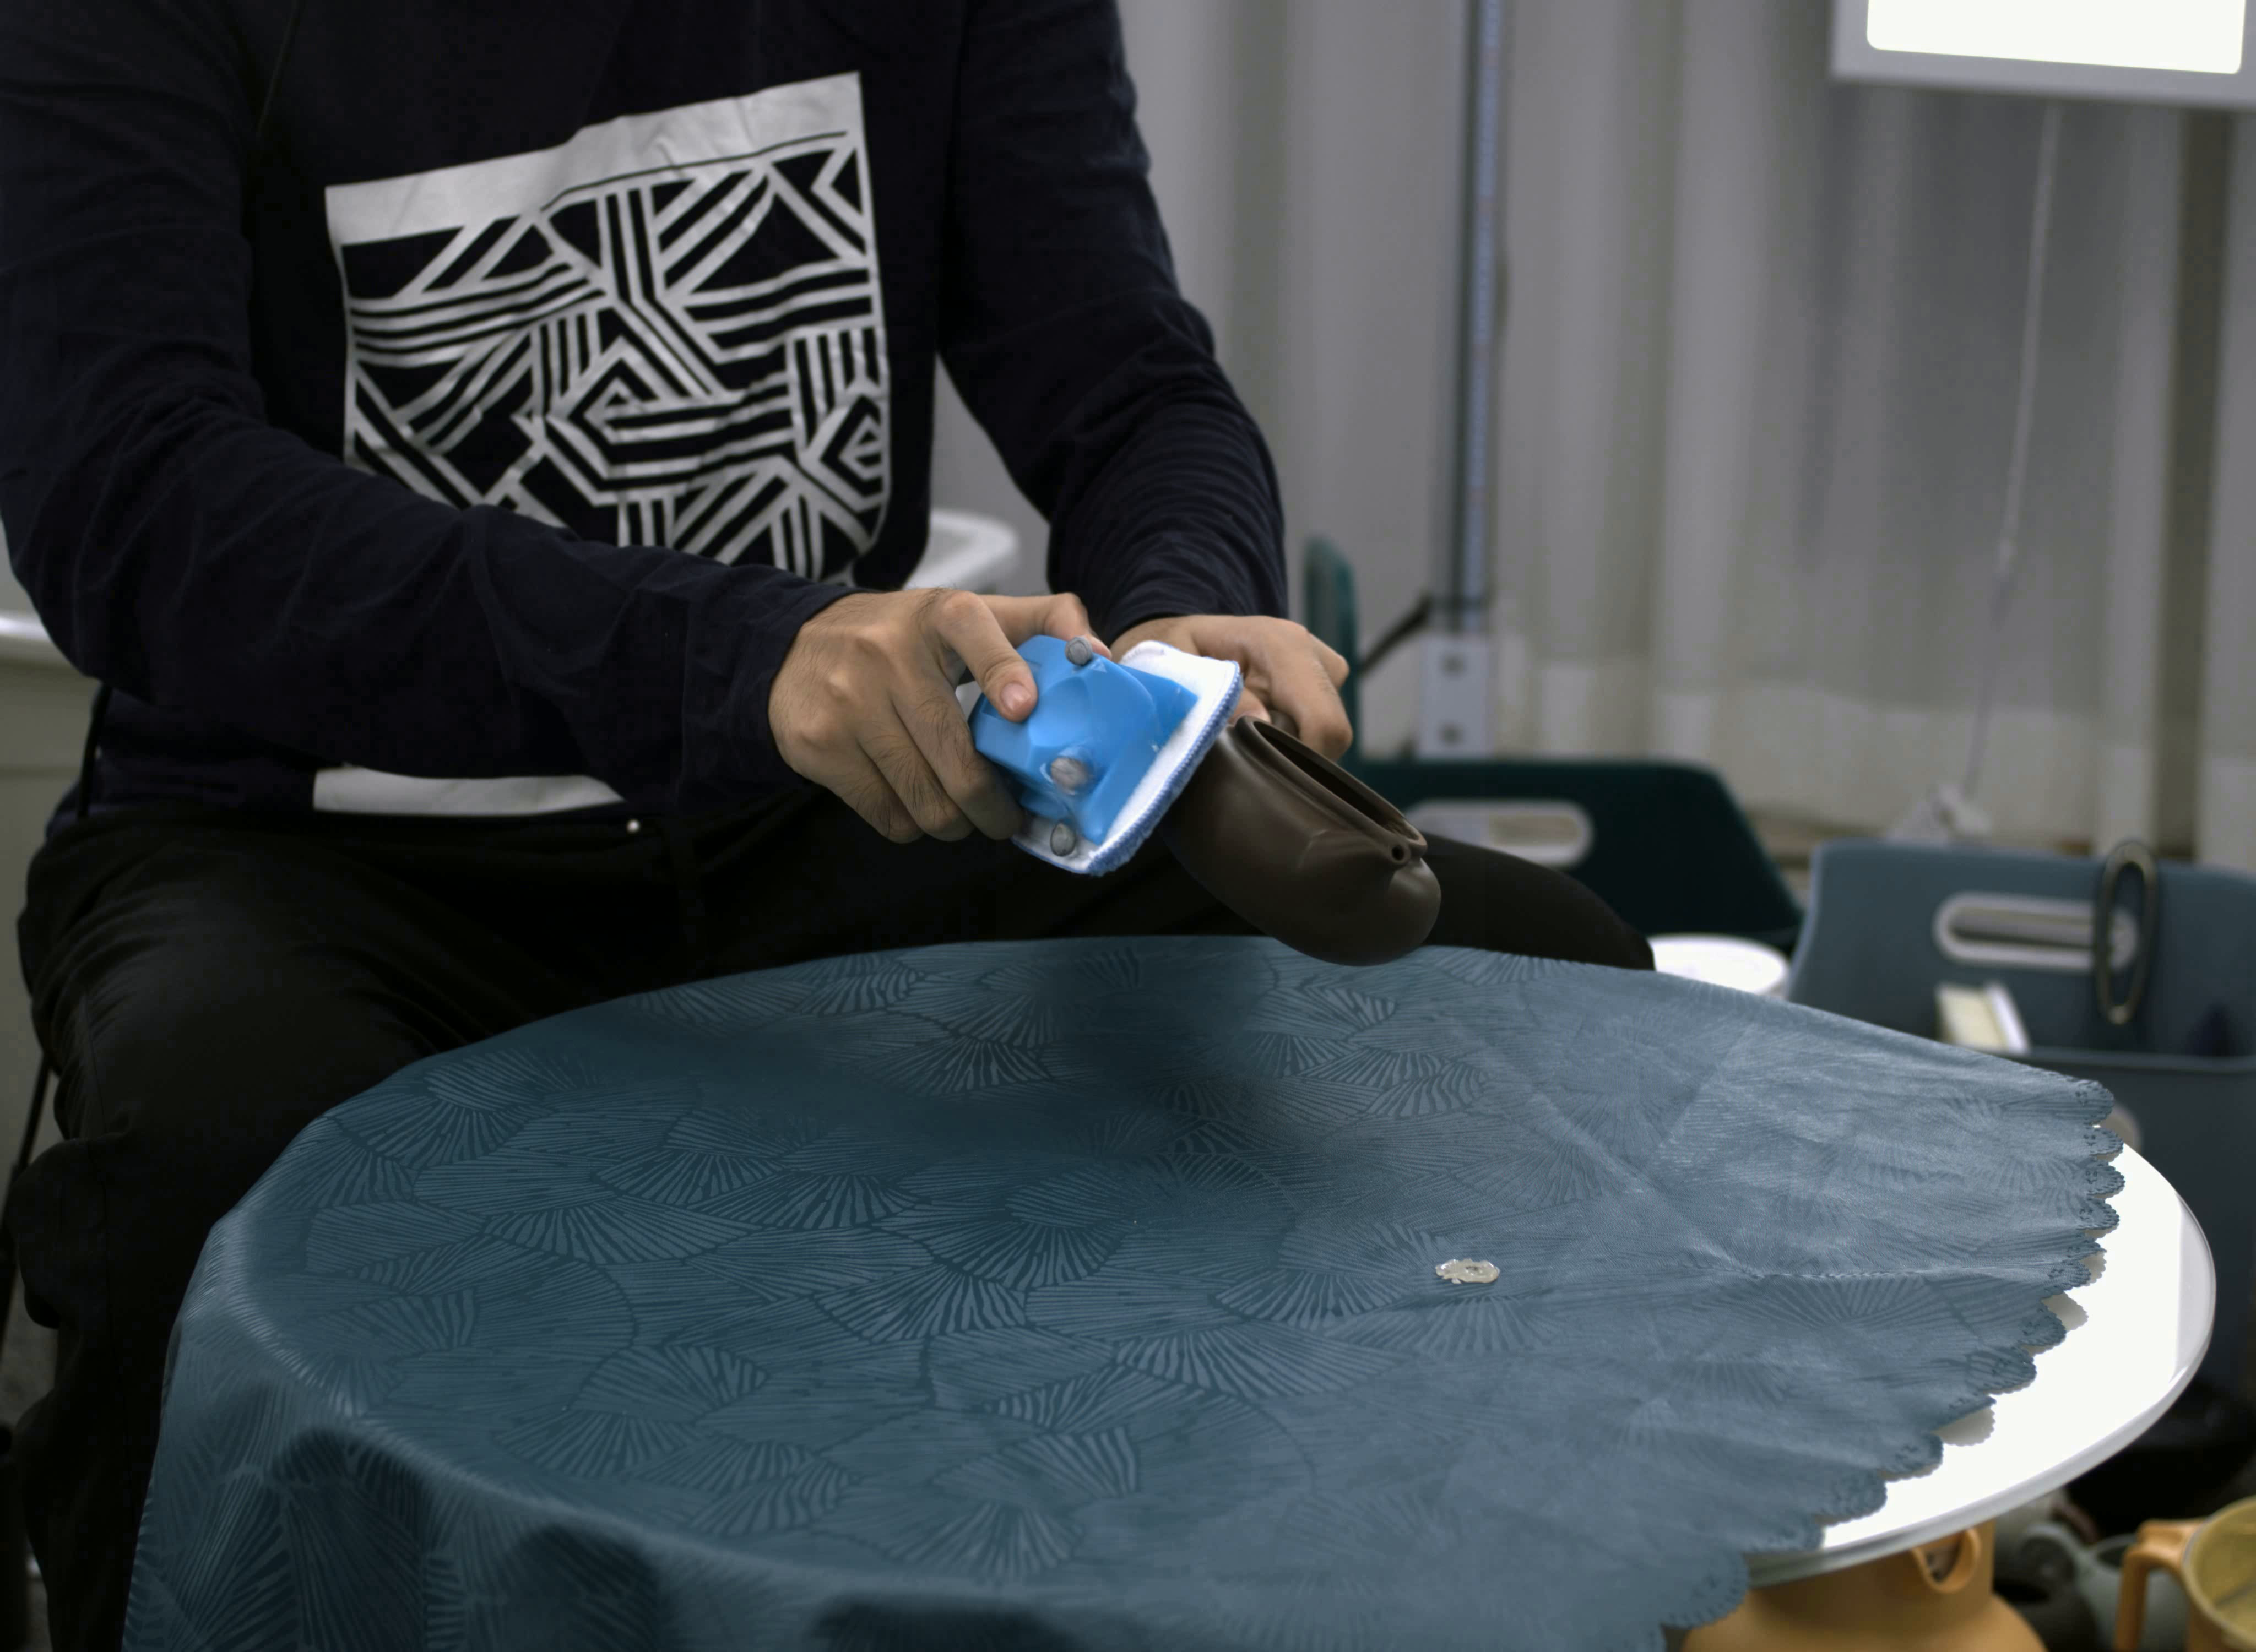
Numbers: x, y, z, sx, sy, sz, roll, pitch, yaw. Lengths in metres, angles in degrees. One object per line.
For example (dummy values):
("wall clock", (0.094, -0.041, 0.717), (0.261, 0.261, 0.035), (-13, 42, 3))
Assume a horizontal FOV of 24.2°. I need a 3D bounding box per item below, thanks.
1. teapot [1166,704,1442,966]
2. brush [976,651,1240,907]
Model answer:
("teapot", (0.052, 0.001, 1.651), (0.103, 0.054, 0.151), (32, 11, -27))
("brush", (-0.015, -0.019, 1.663), (0.084, 0.056, 0.143), (-47, 13, -2))
